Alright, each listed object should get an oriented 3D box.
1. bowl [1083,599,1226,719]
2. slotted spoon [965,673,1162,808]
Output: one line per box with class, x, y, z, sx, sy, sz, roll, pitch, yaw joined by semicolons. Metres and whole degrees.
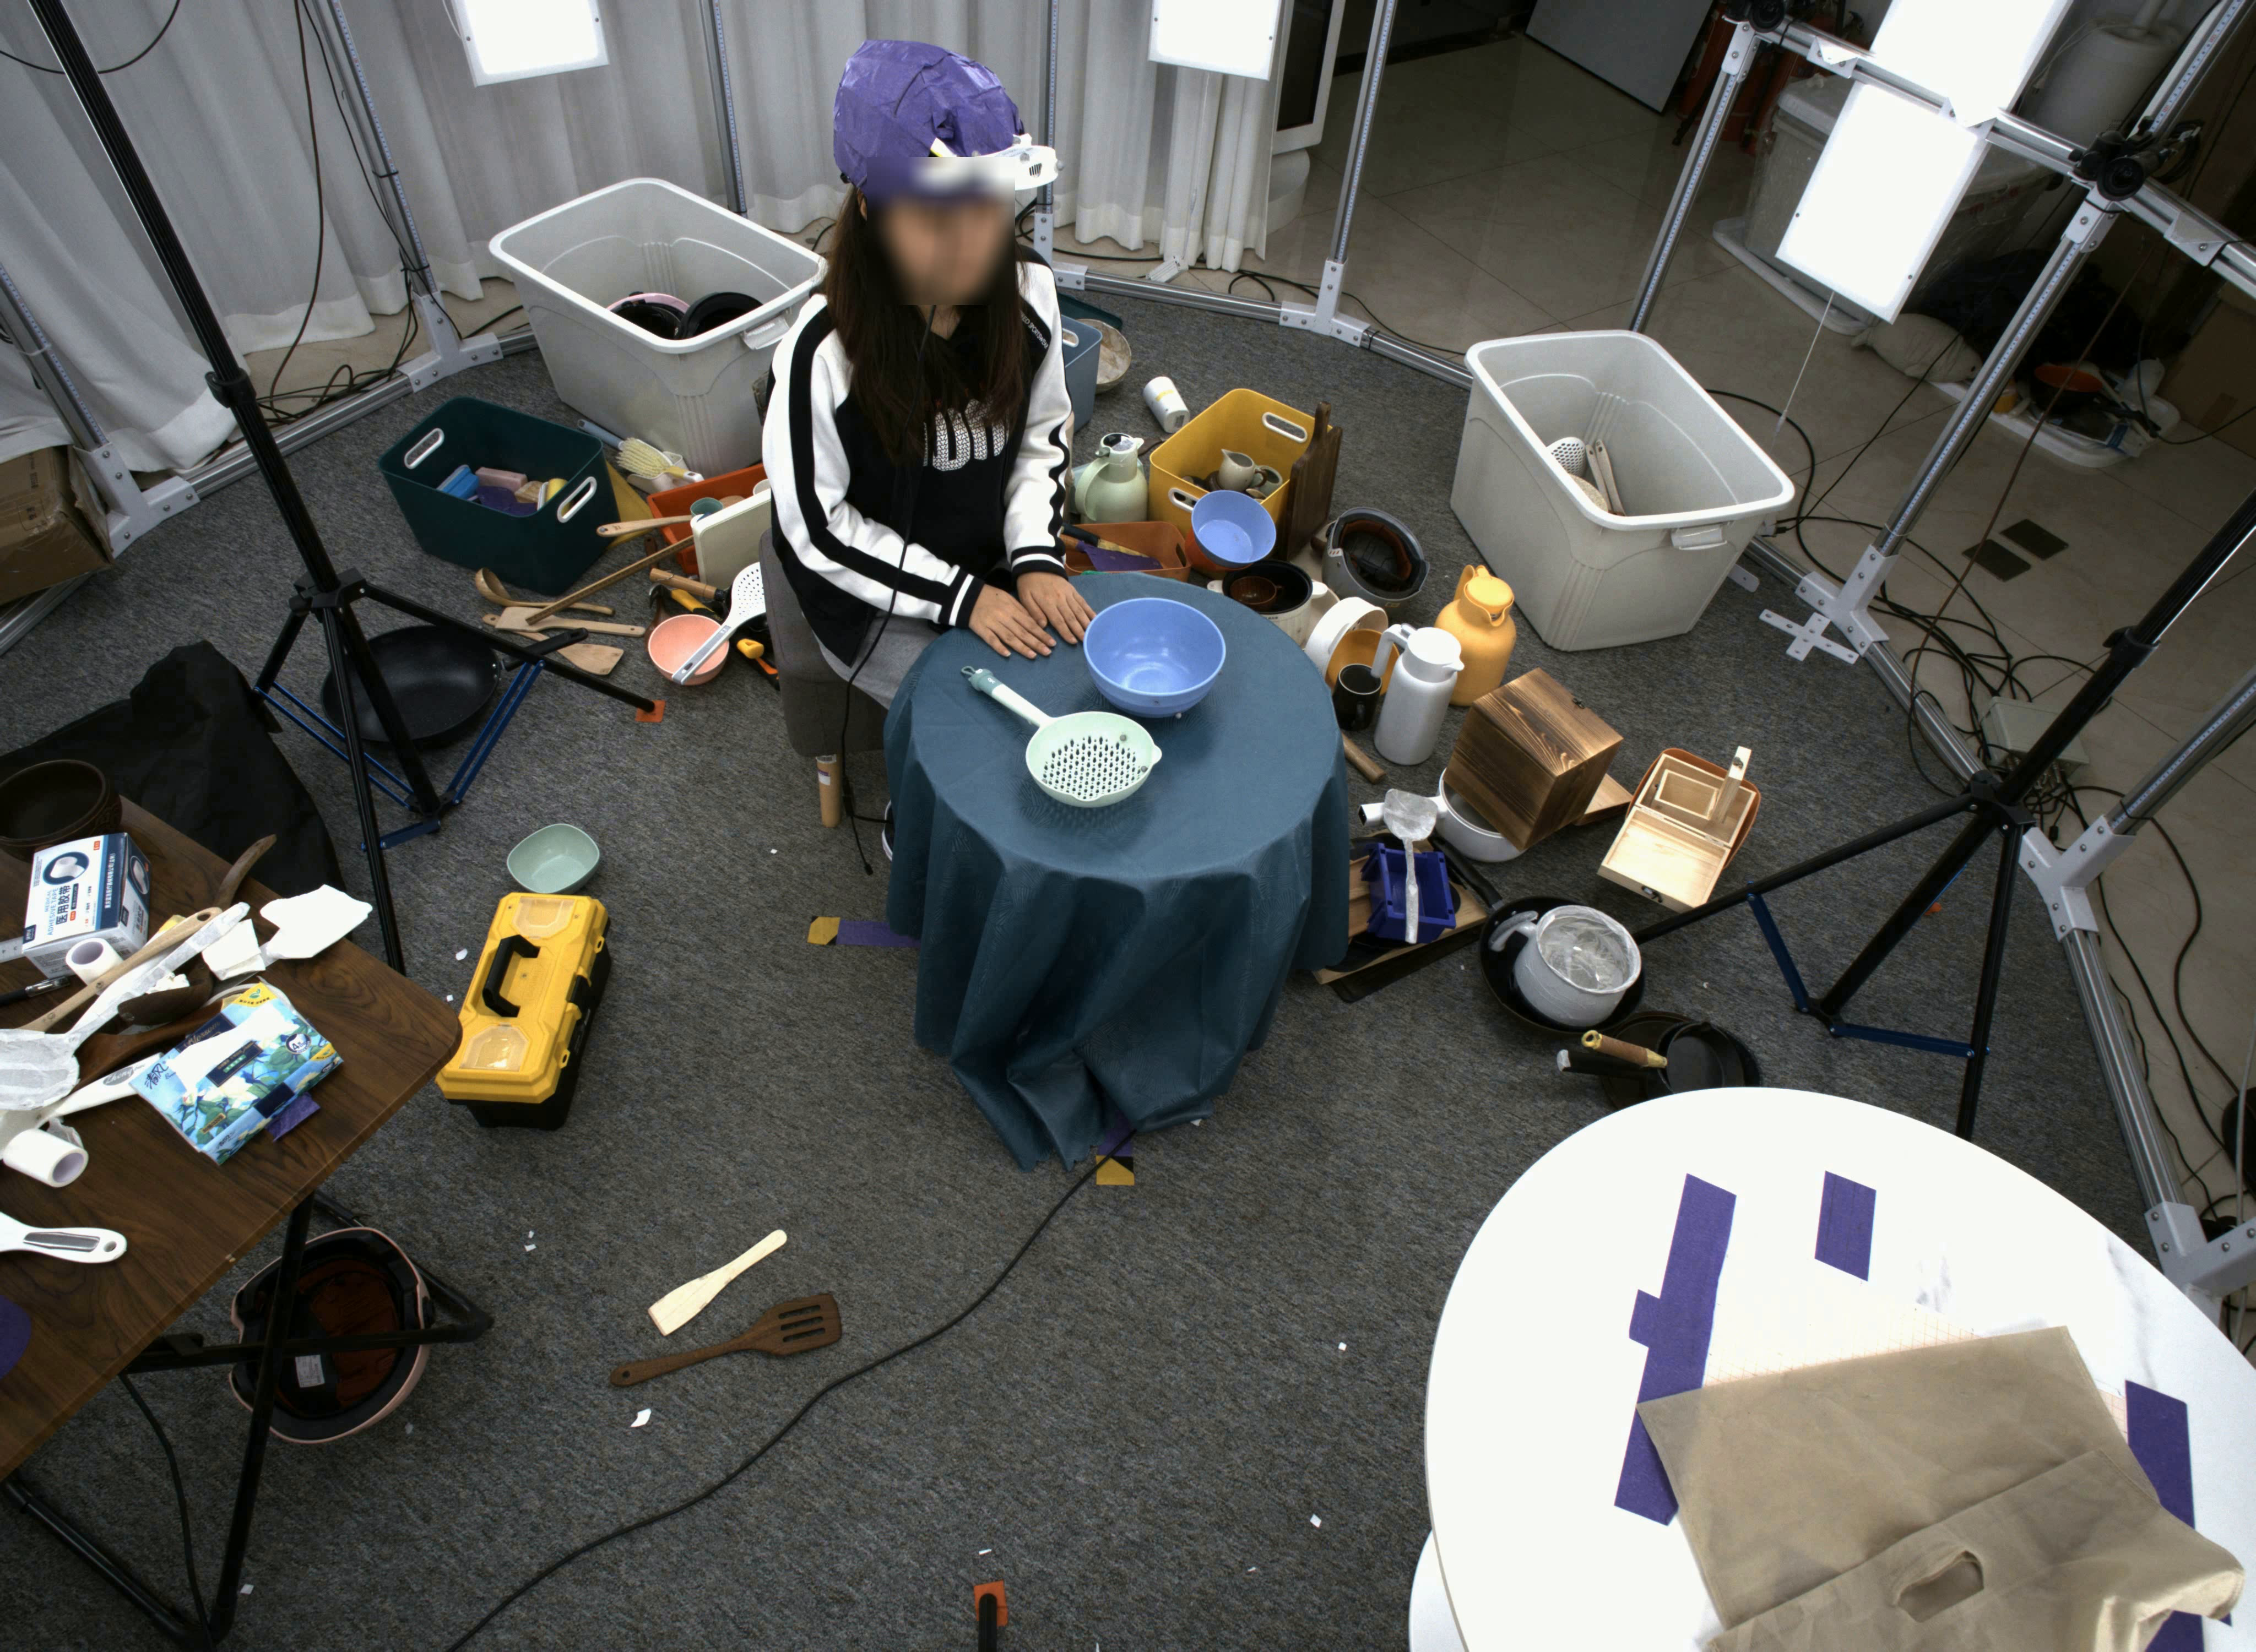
bowl;0.034;-0.220;1.802;0.196;0.093;0.201;2;49;-2
slotted spoon;-0.113;-0.134;1.742;0.170;0.073;0.365;-31;56;-28
